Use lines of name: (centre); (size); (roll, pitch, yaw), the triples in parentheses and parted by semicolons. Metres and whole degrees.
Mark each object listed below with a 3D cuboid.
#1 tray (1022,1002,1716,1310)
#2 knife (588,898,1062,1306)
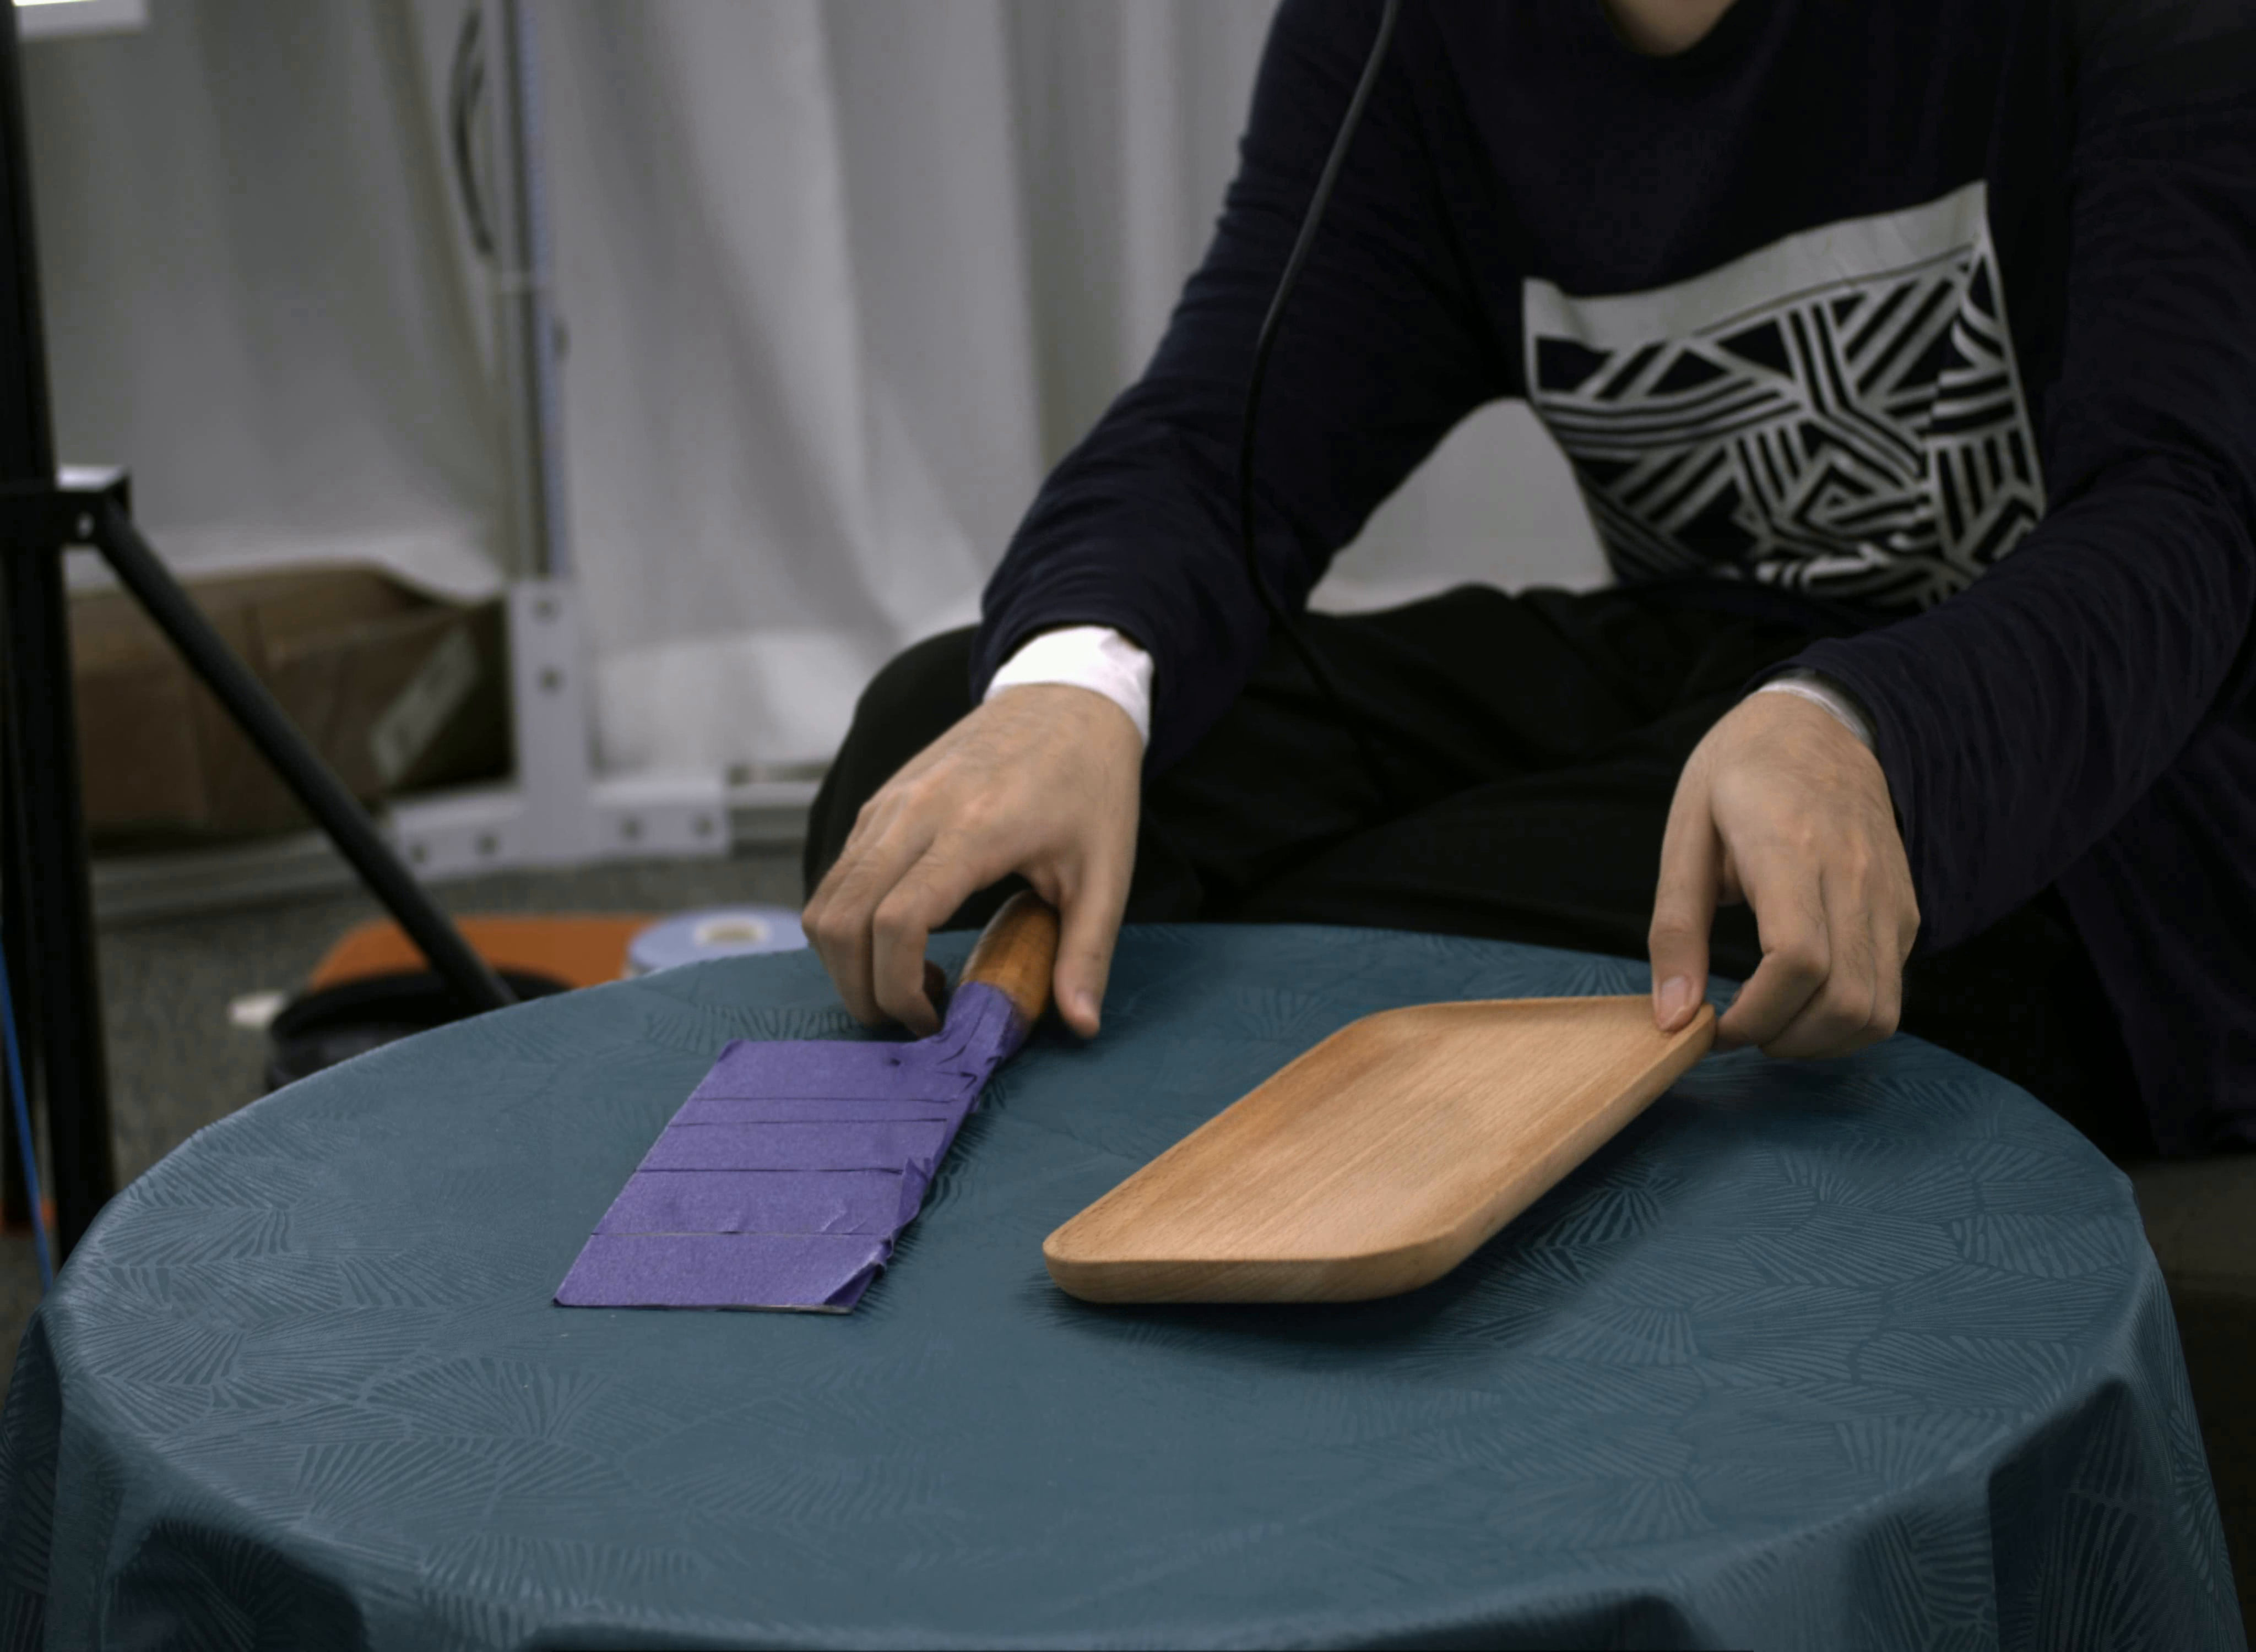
tray: (0.075, 0.094, 1.546); (0.133, 0.023, 0.246); (-4, 14, 31)
knife: (-0.090, 0.081, 1.623); (0.104, 0.032, 0.314); (1, 16, 10)
